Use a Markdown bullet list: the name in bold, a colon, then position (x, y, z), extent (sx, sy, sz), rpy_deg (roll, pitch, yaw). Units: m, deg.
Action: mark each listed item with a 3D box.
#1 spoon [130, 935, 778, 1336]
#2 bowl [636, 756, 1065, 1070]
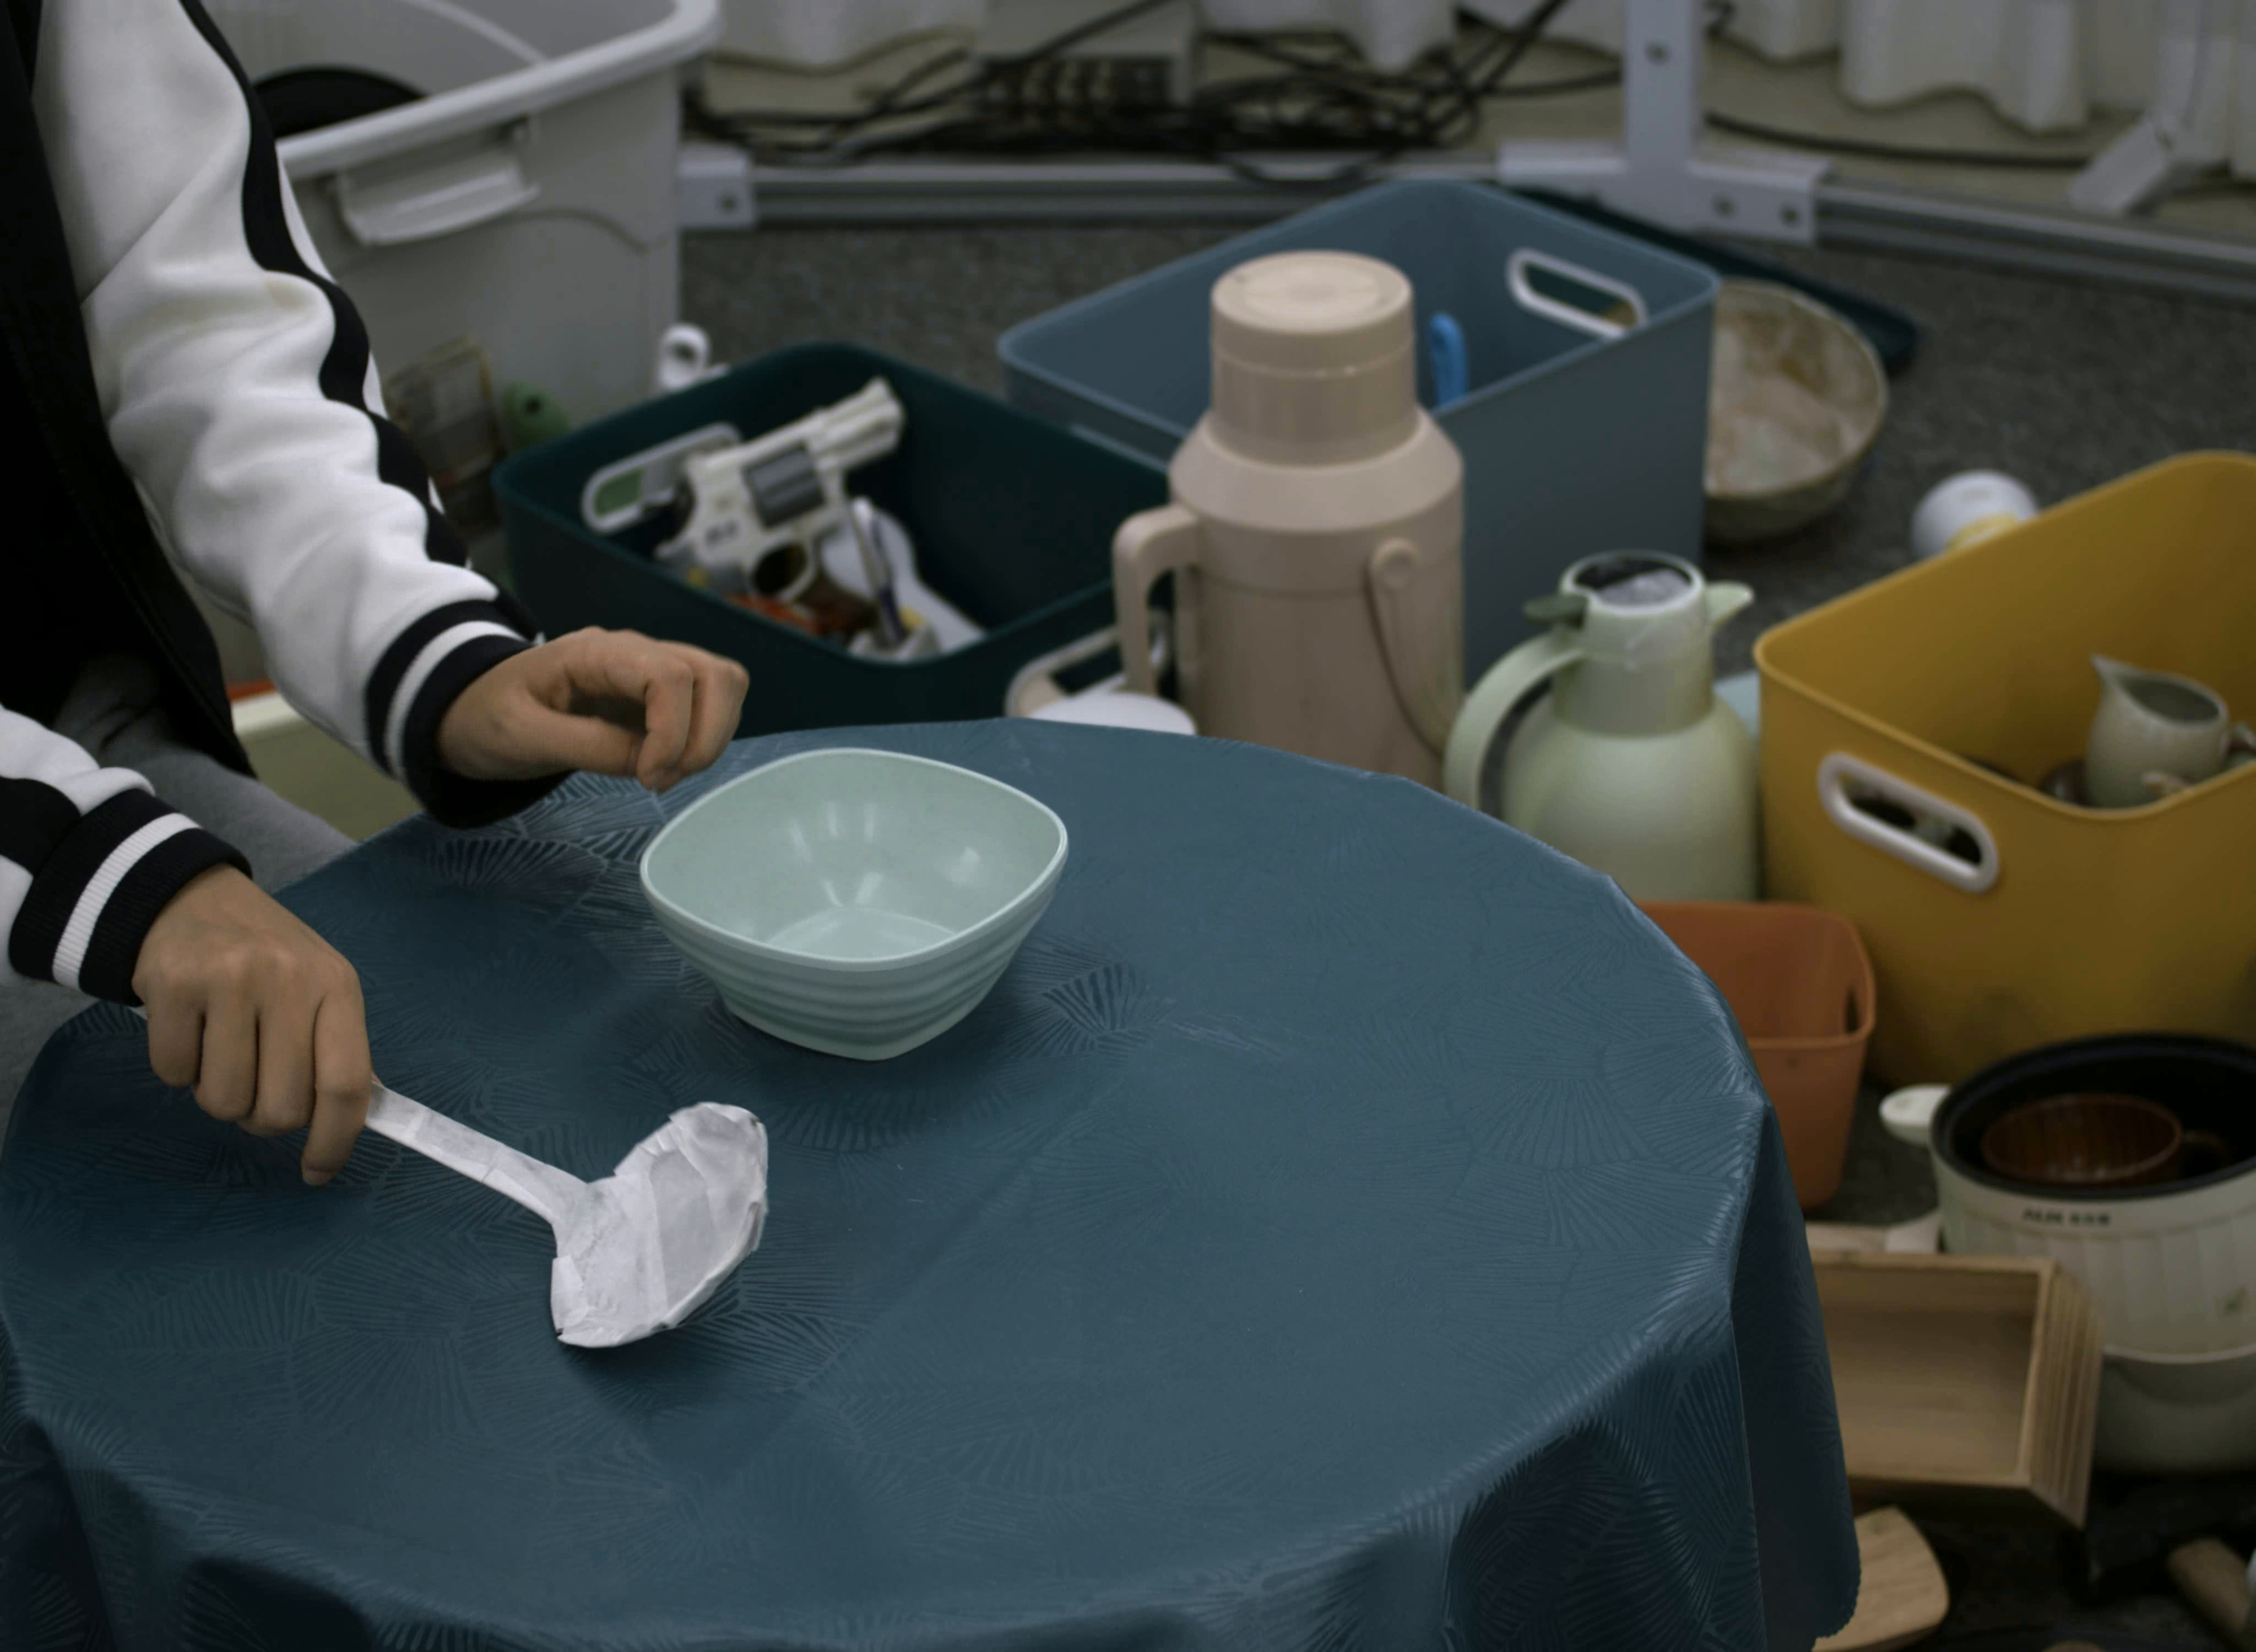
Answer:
- **spoon**: position (-0.228, 0.083, 1.842), extent (0.277, 0.058, 0.102), rpy_deg (28, 63, 24)
- **bowl**: position (-0.097, 0.036, 1.976), extent (0.151, 0.058, 0.154), rpy_deg (1, 28, 0)
